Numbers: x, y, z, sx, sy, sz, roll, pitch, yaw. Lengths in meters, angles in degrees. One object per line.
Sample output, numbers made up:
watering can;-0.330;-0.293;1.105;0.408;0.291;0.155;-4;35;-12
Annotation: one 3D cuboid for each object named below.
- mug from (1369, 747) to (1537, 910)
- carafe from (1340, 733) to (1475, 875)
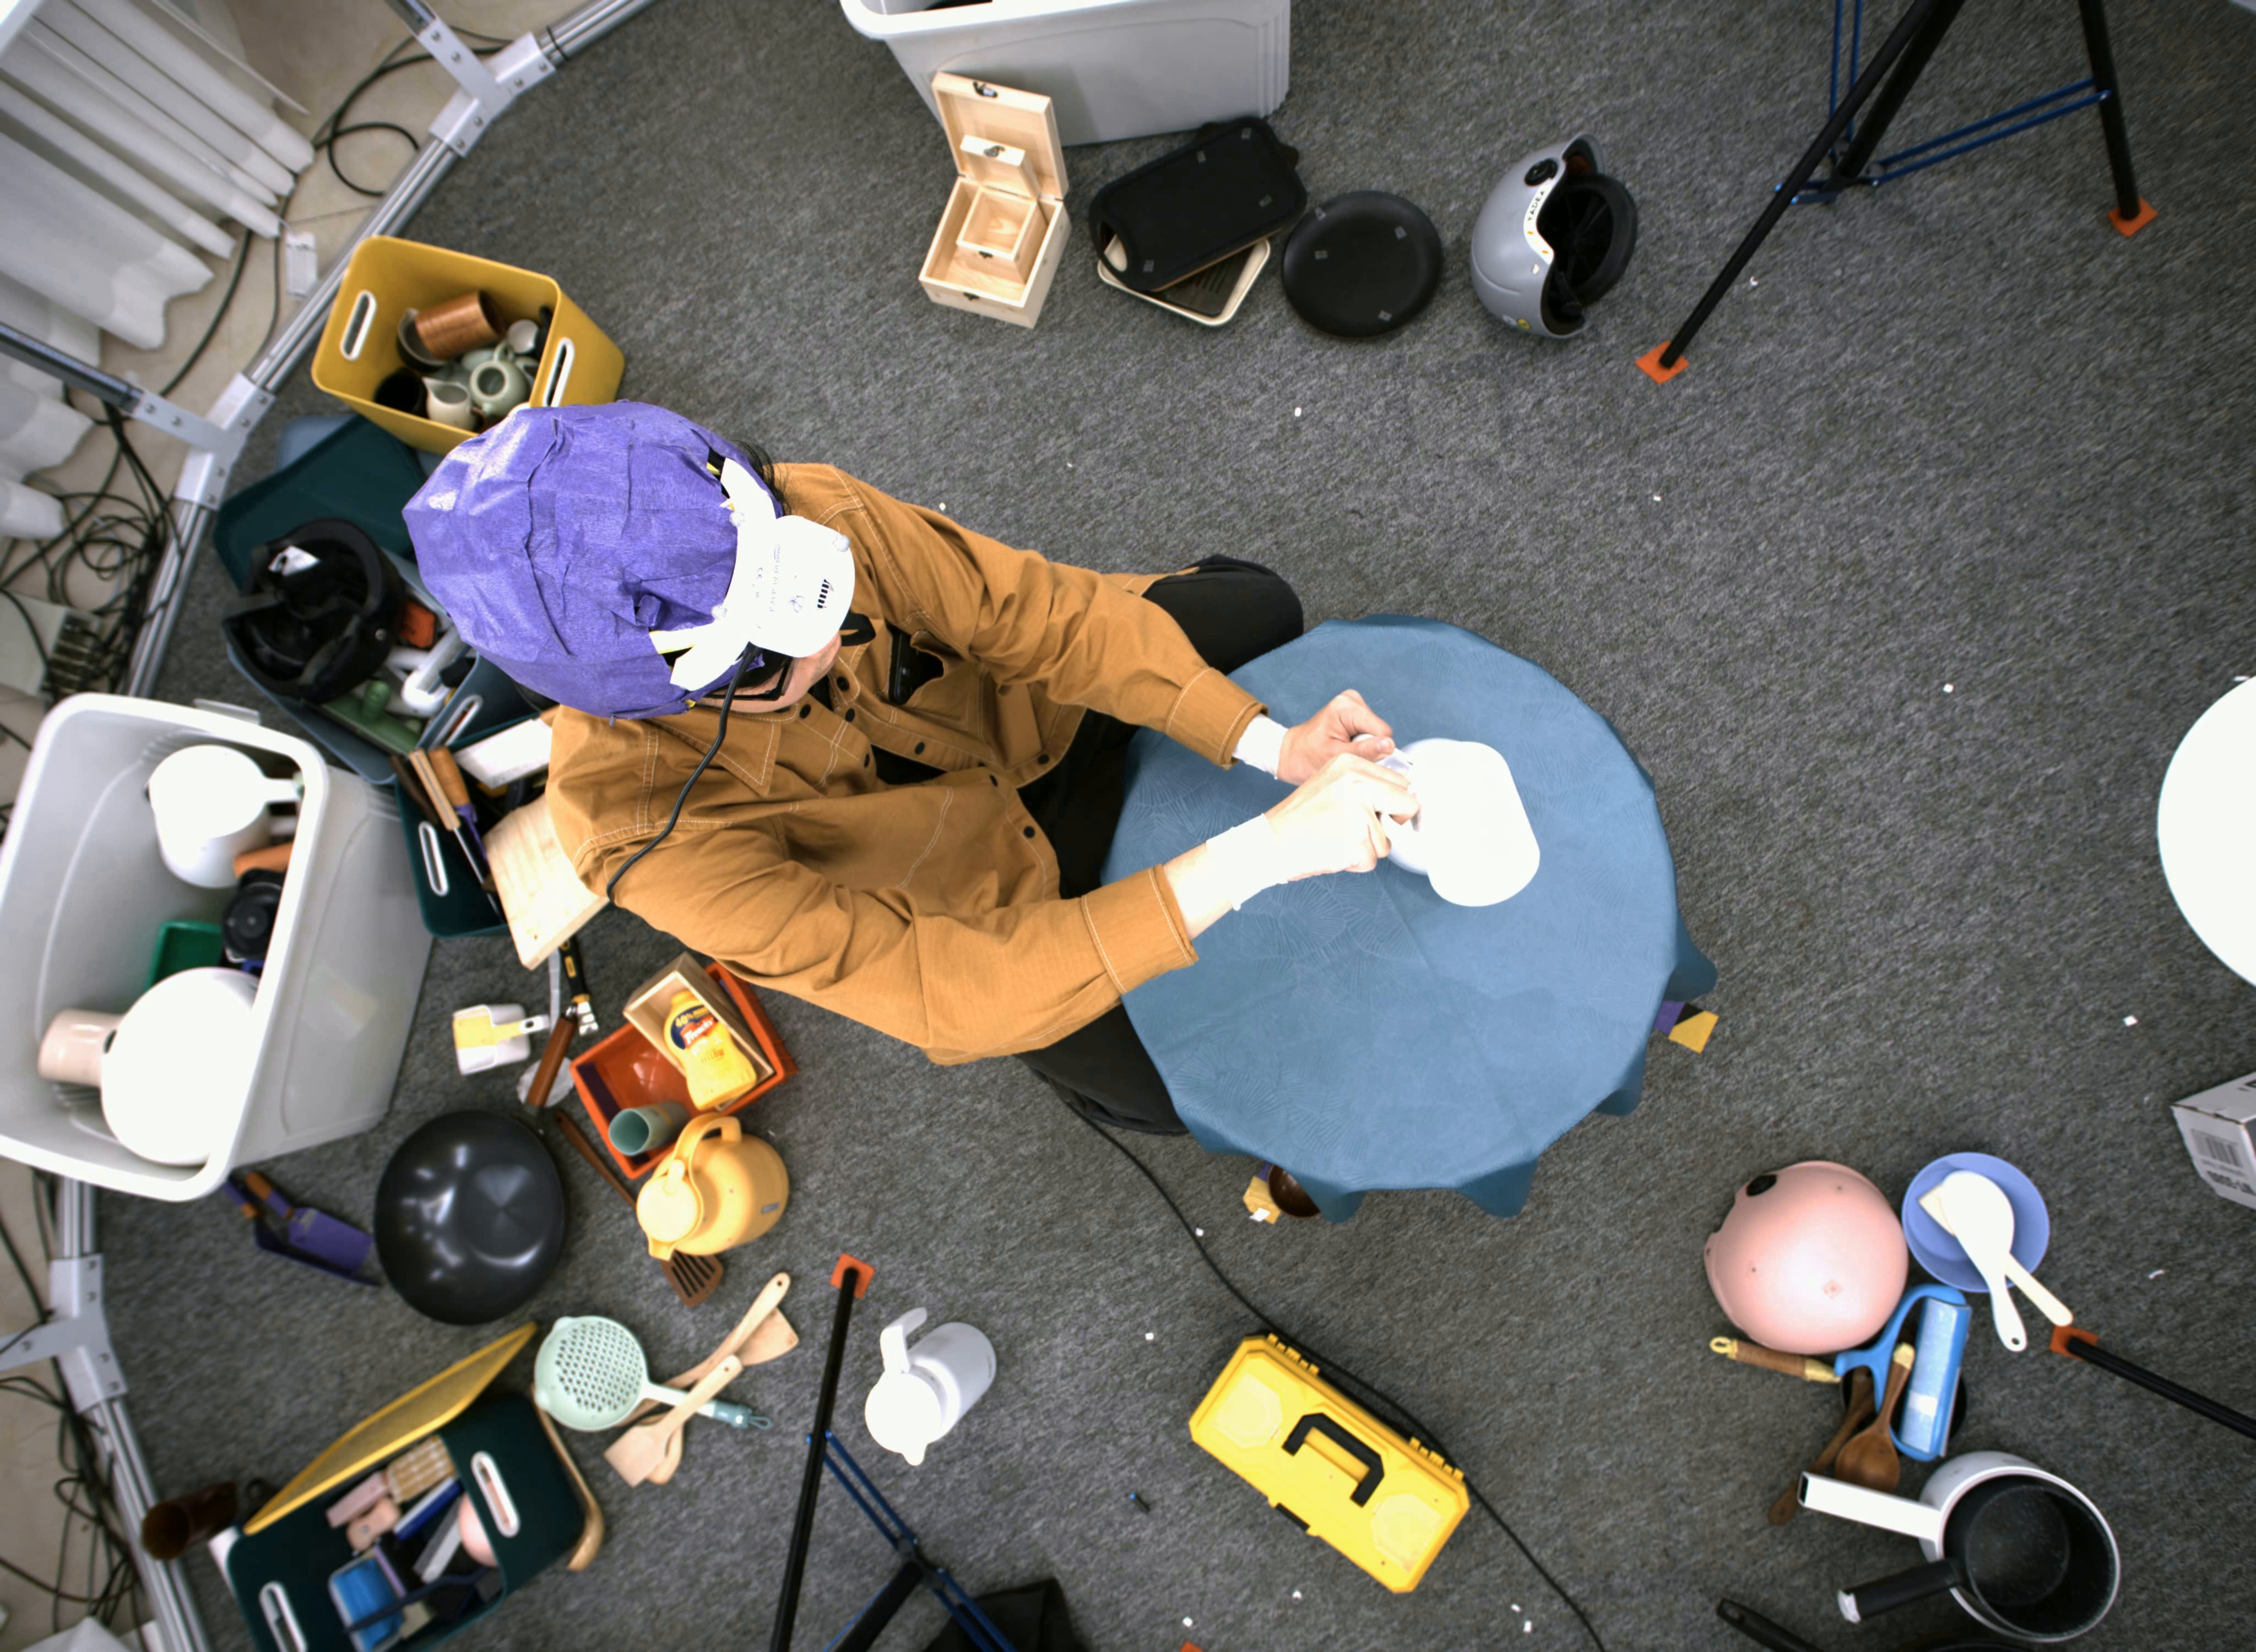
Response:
mug;0.246;0.000;1.058;0.118;0.099;0.087;6;132;-9
carafe;0.274;-0.030;1.293;0.167;0.248;0.133;34;96;10
